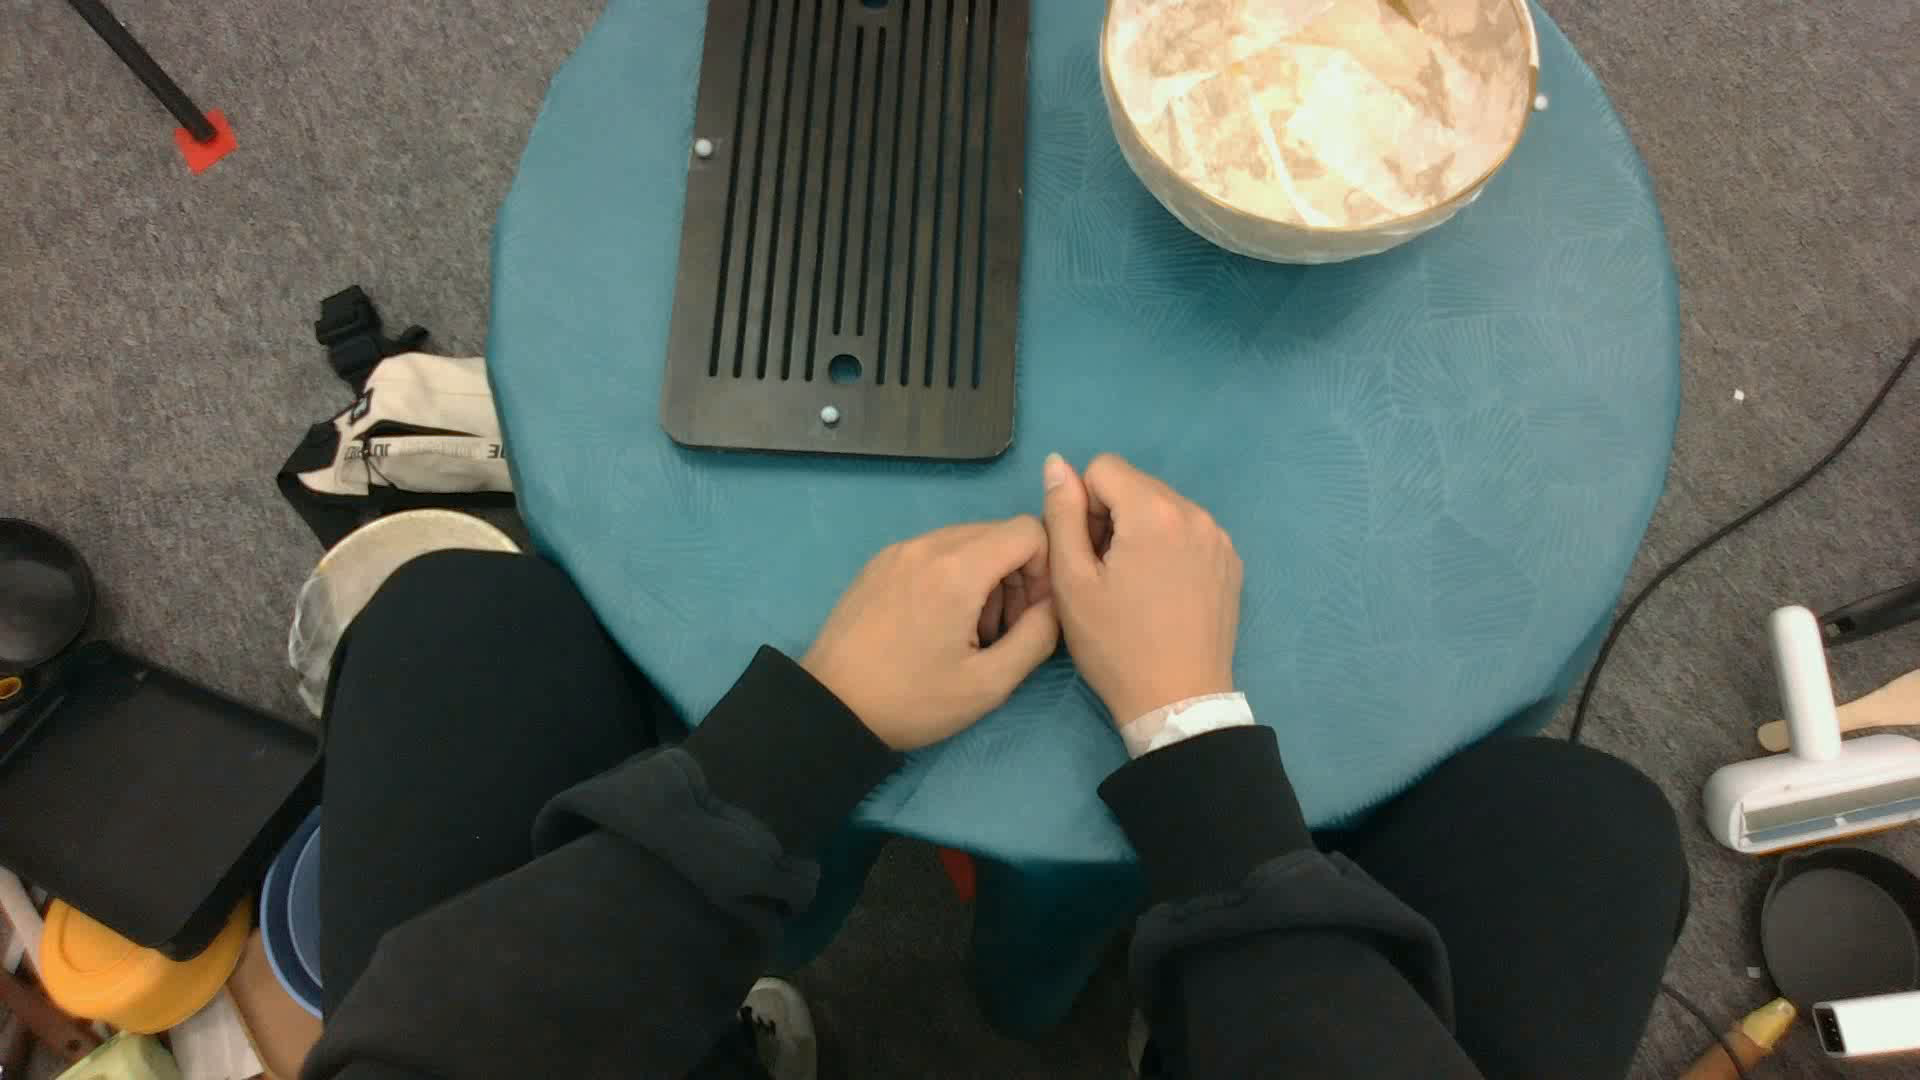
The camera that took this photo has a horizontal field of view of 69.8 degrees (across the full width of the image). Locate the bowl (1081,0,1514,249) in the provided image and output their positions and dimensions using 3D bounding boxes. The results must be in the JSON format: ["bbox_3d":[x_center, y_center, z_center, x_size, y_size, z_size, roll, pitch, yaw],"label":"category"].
[{"bbox_3d":[0.153,-0.224,0.681,0.215,0.094,0.215,1,73,-2],"label":"bowl"}]

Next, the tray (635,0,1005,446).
[{"bbox_3d":[-0.065,-0.192,0.703,0.170,0.018,0.307,3,72,-1],"label":"tray"}]
